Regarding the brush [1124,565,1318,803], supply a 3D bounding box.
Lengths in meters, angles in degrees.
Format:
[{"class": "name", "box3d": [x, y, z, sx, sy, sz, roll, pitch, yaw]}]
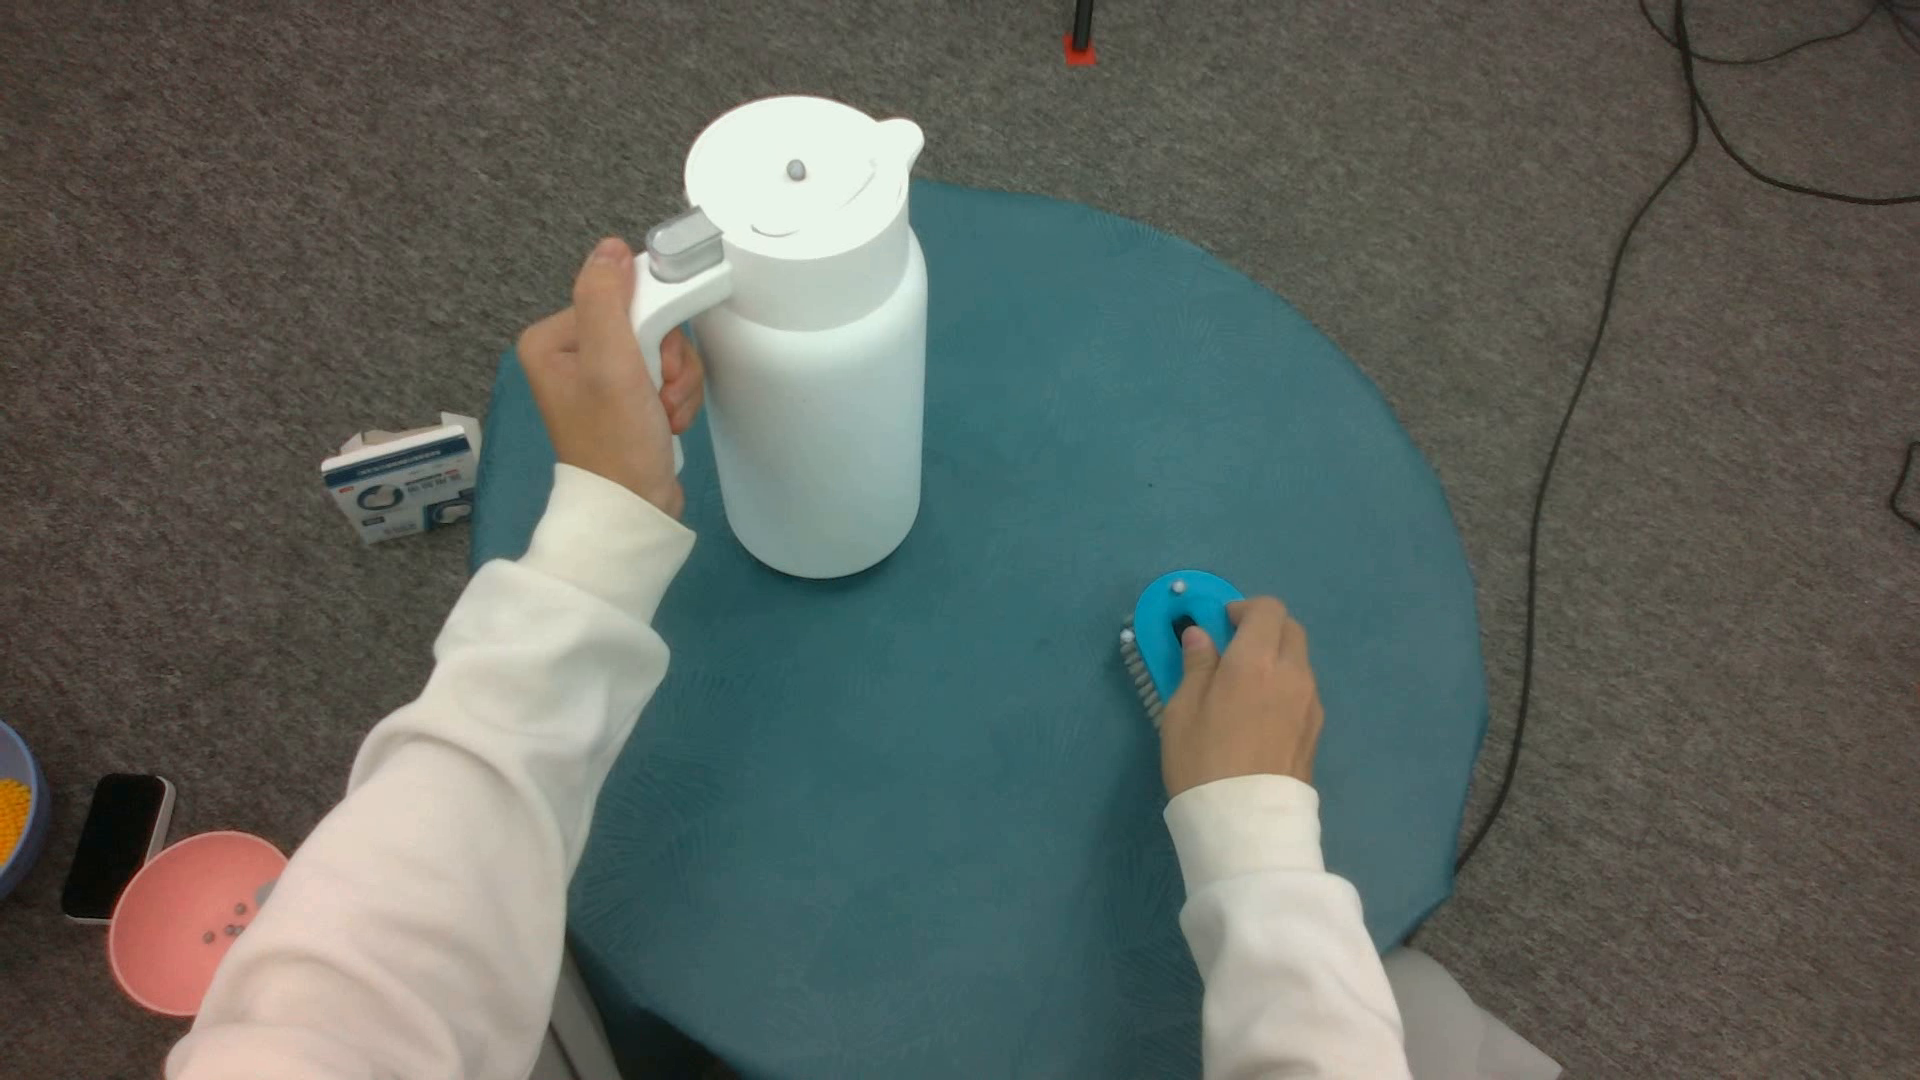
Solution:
[{"class": "brush", "box3d": [0.154, 0.074, 0.786, 0.084, 0.063, 0.142, -14, 67, -17]}]

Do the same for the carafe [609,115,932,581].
[{"class": "carafe", "box3d": [-0.087, -0.080, 0.726, 0.173, 0.267, 0.124, -36, 68, -21]}]
